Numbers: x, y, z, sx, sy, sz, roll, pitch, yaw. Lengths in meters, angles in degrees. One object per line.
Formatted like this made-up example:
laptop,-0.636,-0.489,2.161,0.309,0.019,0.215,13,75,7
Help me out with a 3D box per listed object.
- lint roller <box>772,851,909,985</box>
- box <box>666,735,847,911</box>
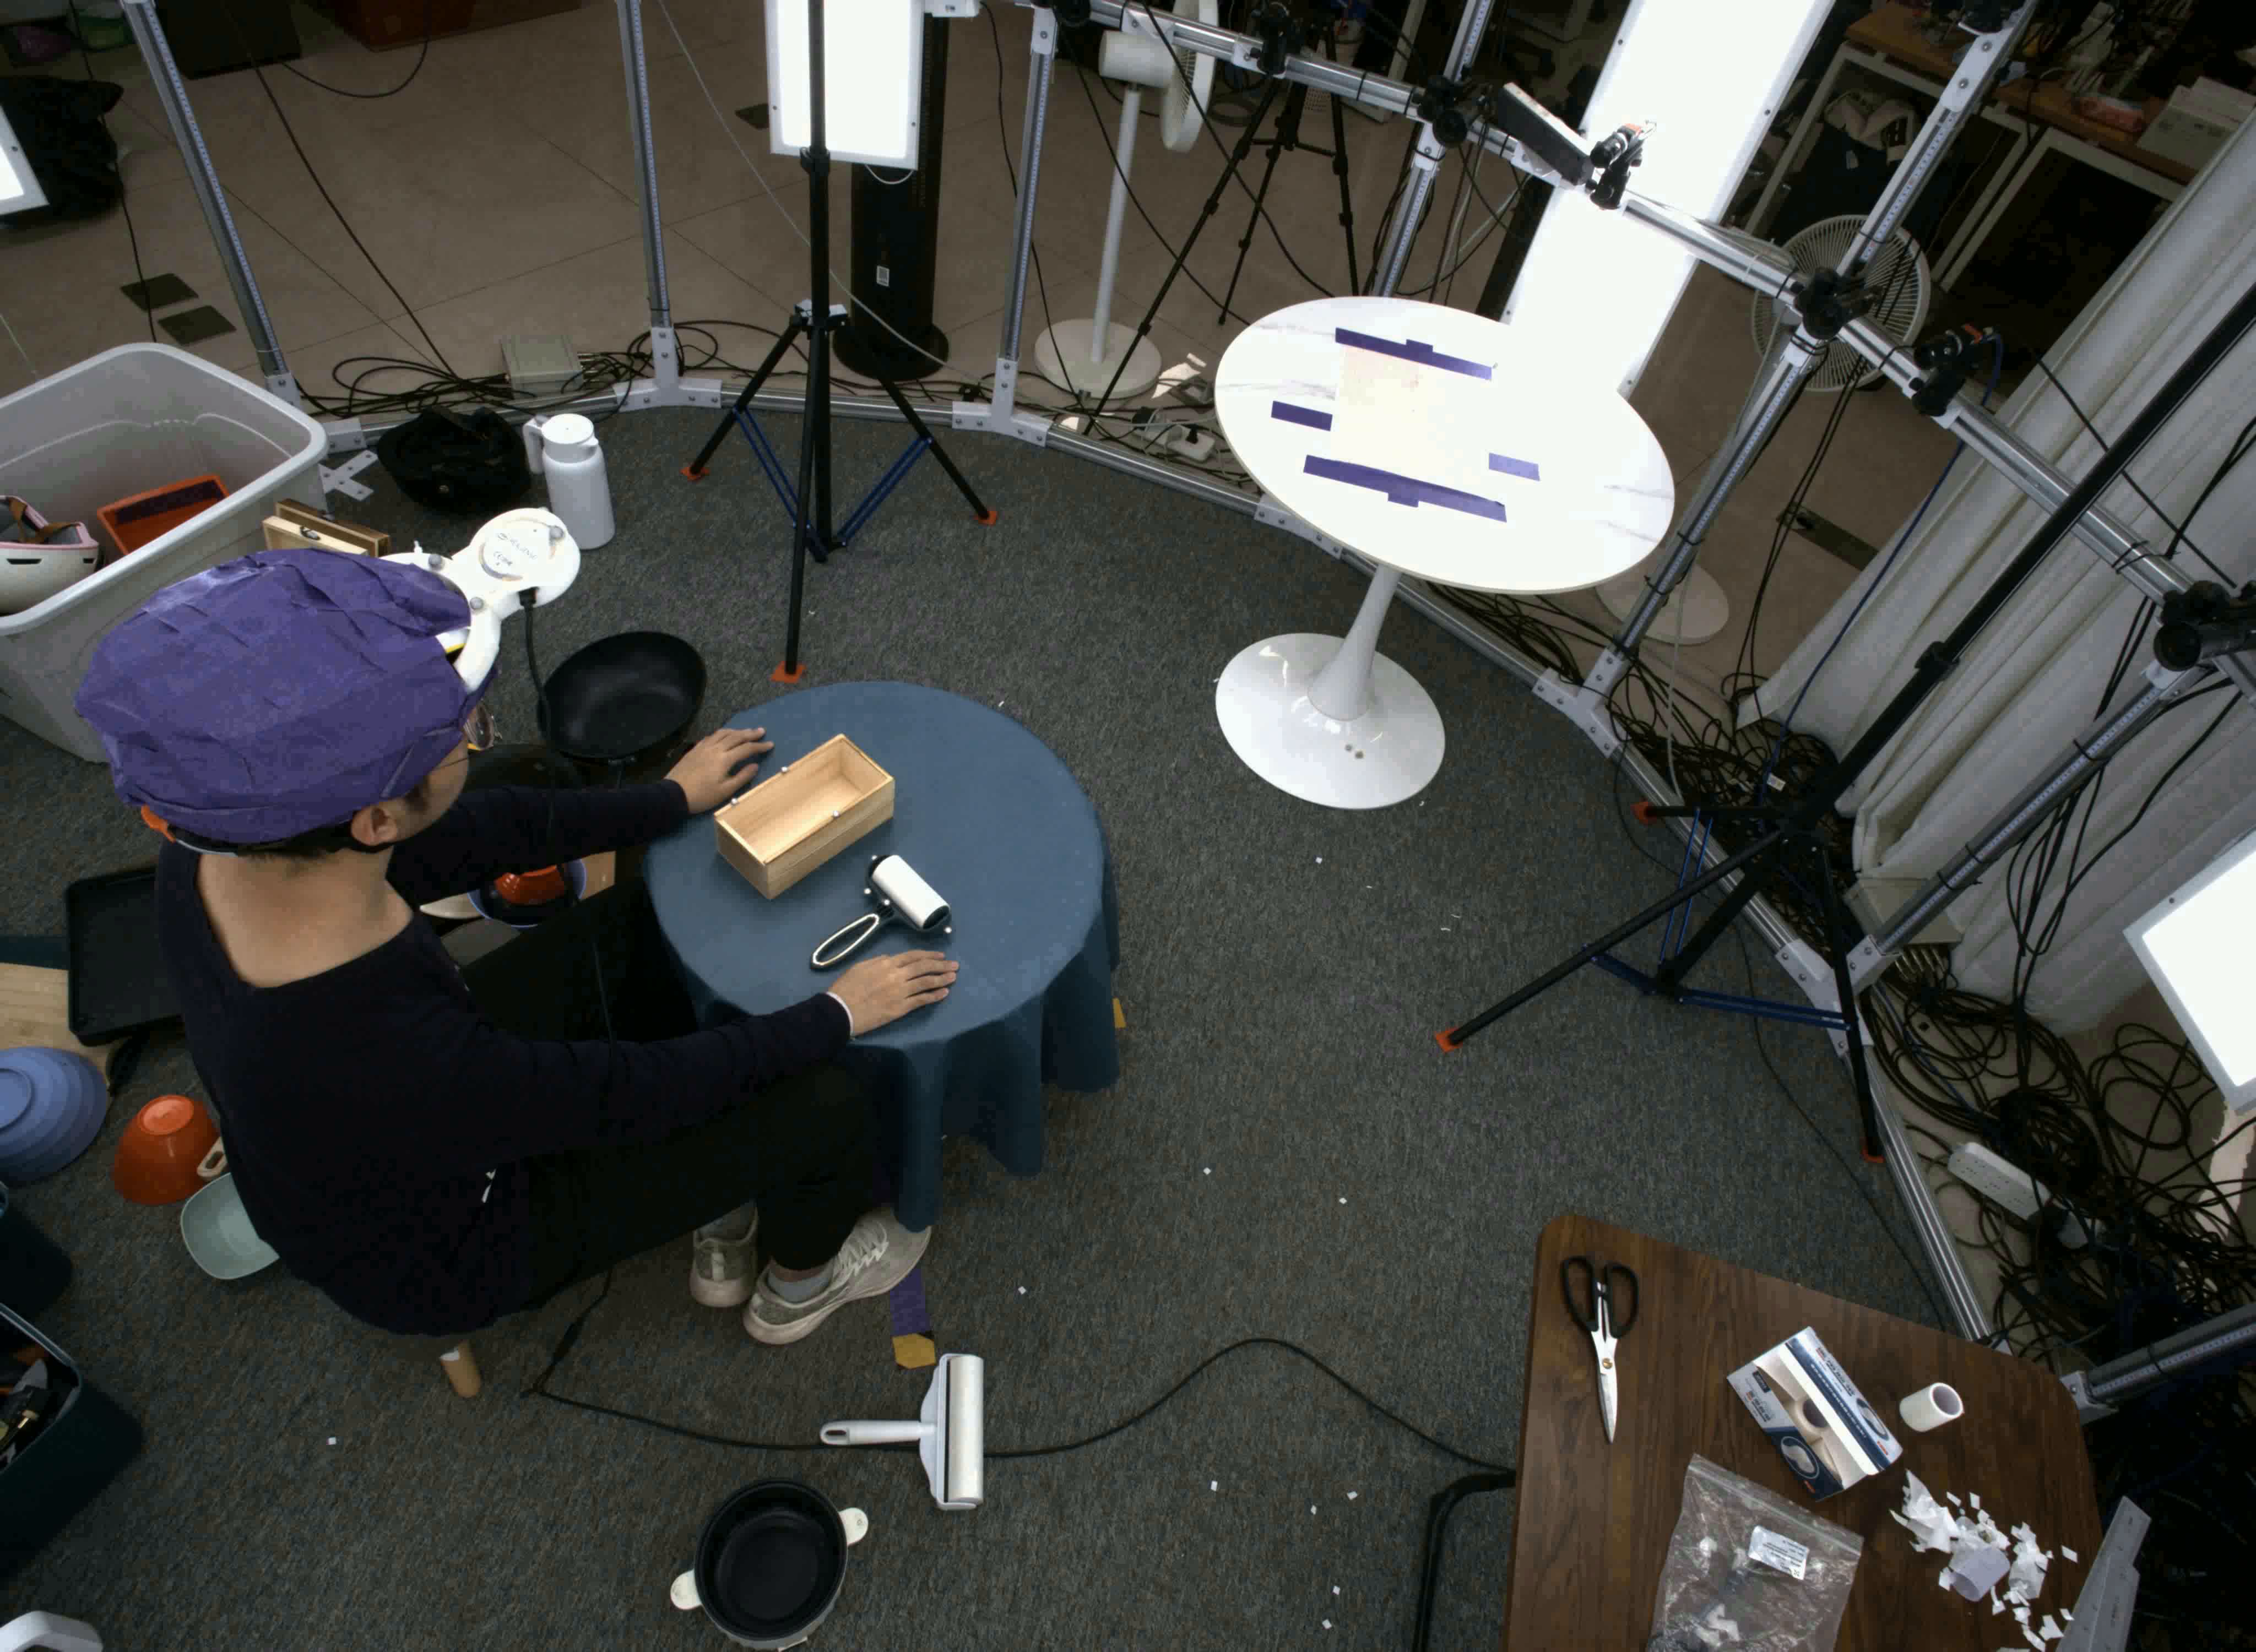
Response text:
lint roller,-0.377,0.127,1.629,0.131,0.049,0.180,40,60,16
box,-0.477,-0.007,1.676,0.105,0.082,0.211,37,56,14
